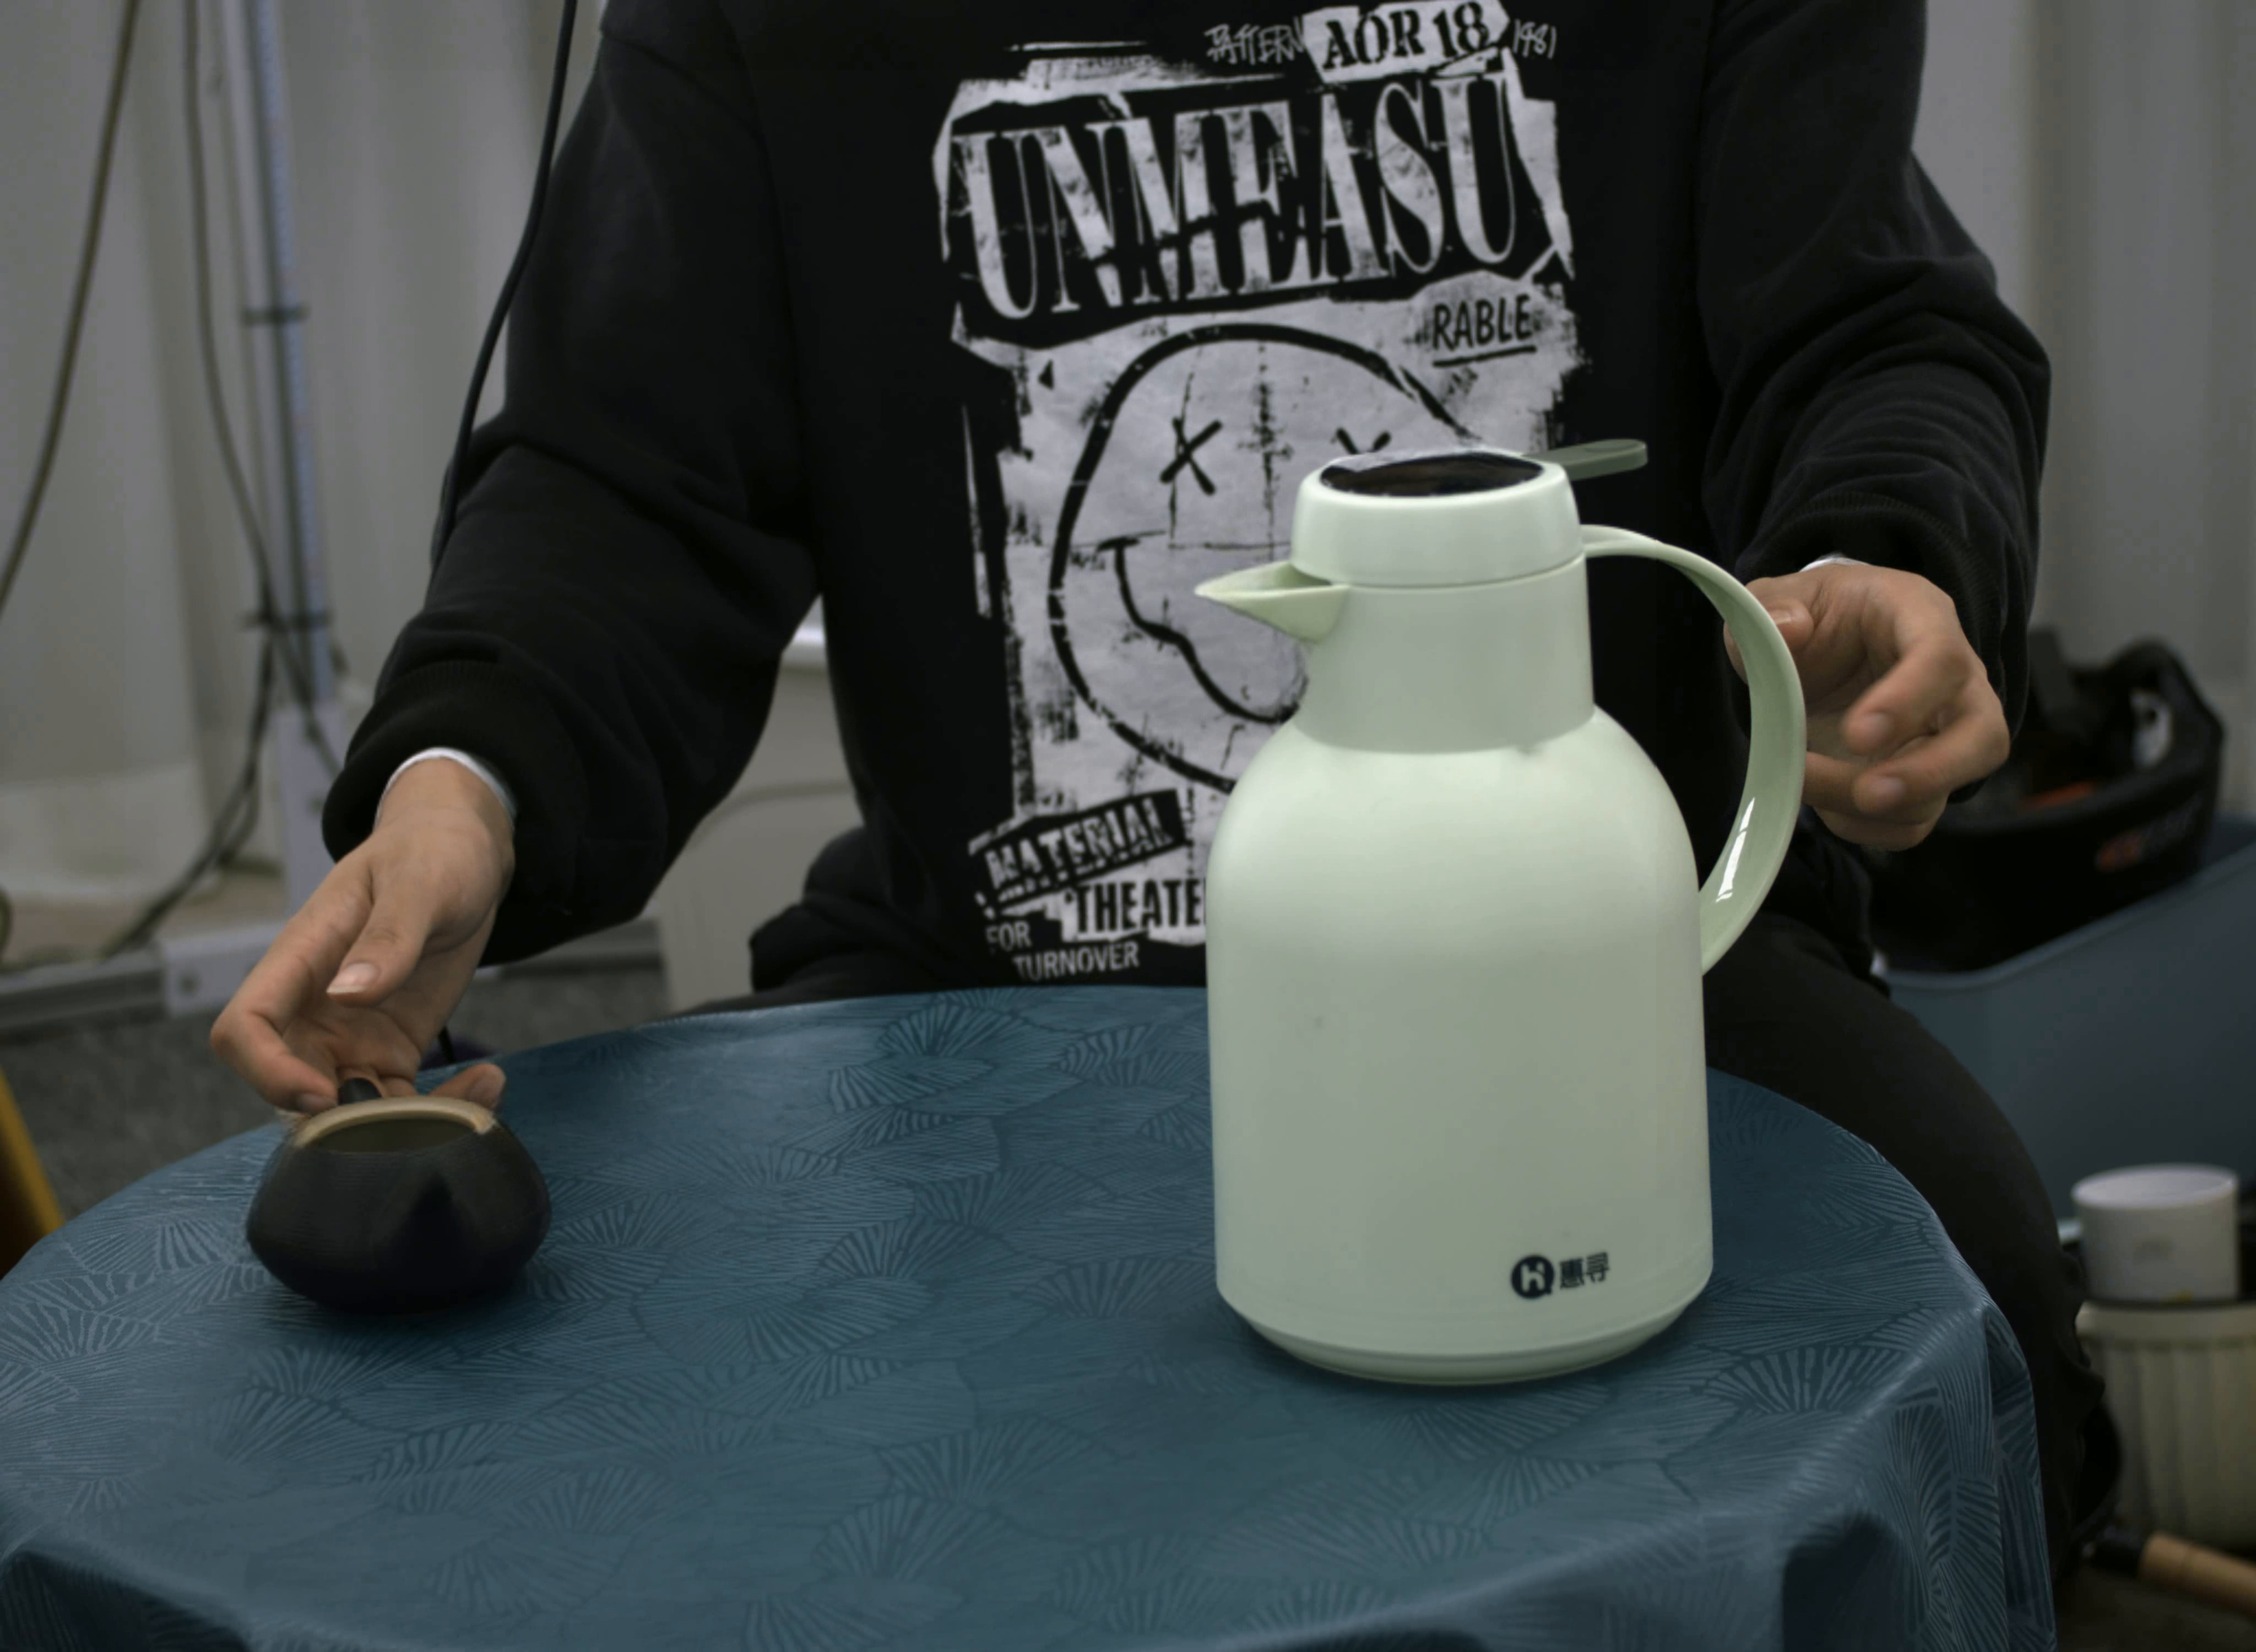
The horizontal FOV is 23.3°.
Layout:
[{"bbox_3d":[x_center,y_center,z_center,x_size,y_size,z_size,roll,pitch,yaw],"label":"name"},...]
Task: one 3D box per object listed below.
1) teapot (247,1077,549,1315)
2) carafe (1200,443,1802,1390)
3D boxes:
[{"bbox_3d":[-0.220,0.115,1.654,0.090,0.053,0.134,-6,15,-18],"label":"teapot"},{"bbox_3d":[0.105,0.021,1.565,0.186,0.256,0.145,-5,12,-23],"label":"carafe"}]
